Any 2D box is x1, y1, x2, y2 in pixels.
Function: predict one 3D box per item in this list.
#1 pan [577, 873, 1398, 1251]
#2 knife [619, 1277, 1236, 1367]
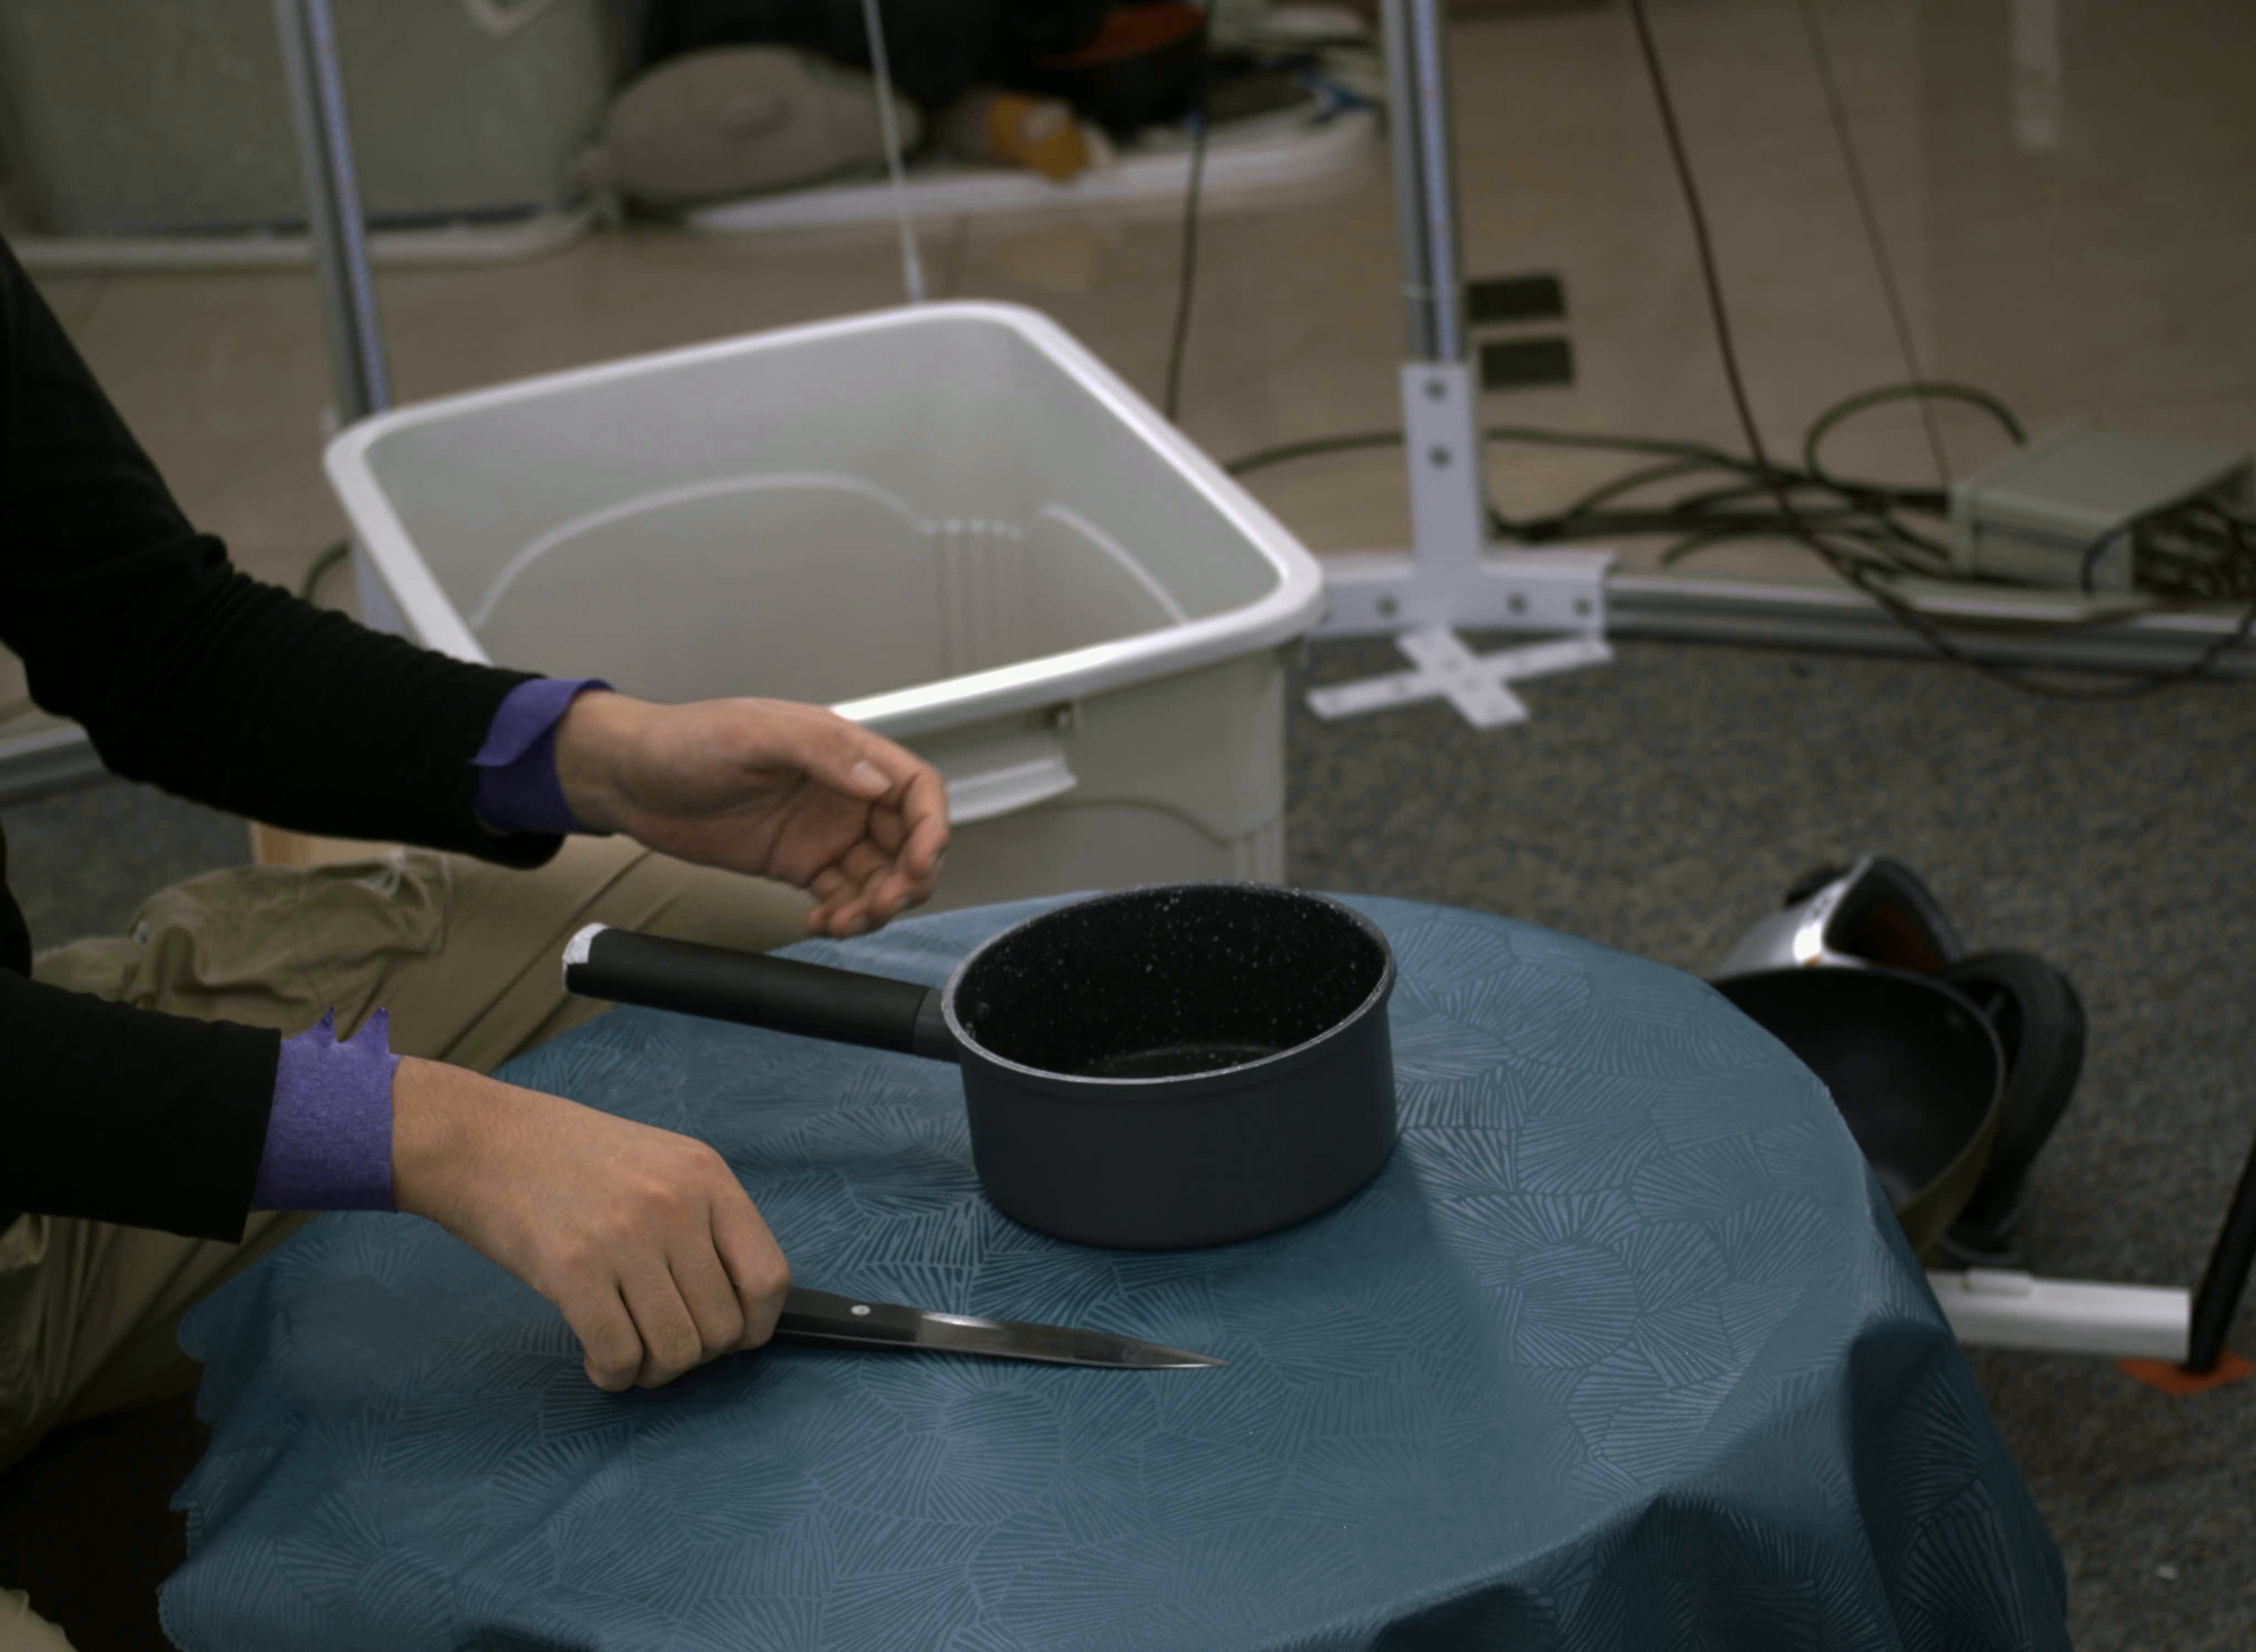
[{"bbox_3d":[-0.056,0.084,2.180,0.328,0.088,0.169,4,27,19],"label":"pan"},{"bbox_3d":[-0.076,0.184,2.060,0.237,0.016,0.024,5,28,16],"label":"knife"}]
